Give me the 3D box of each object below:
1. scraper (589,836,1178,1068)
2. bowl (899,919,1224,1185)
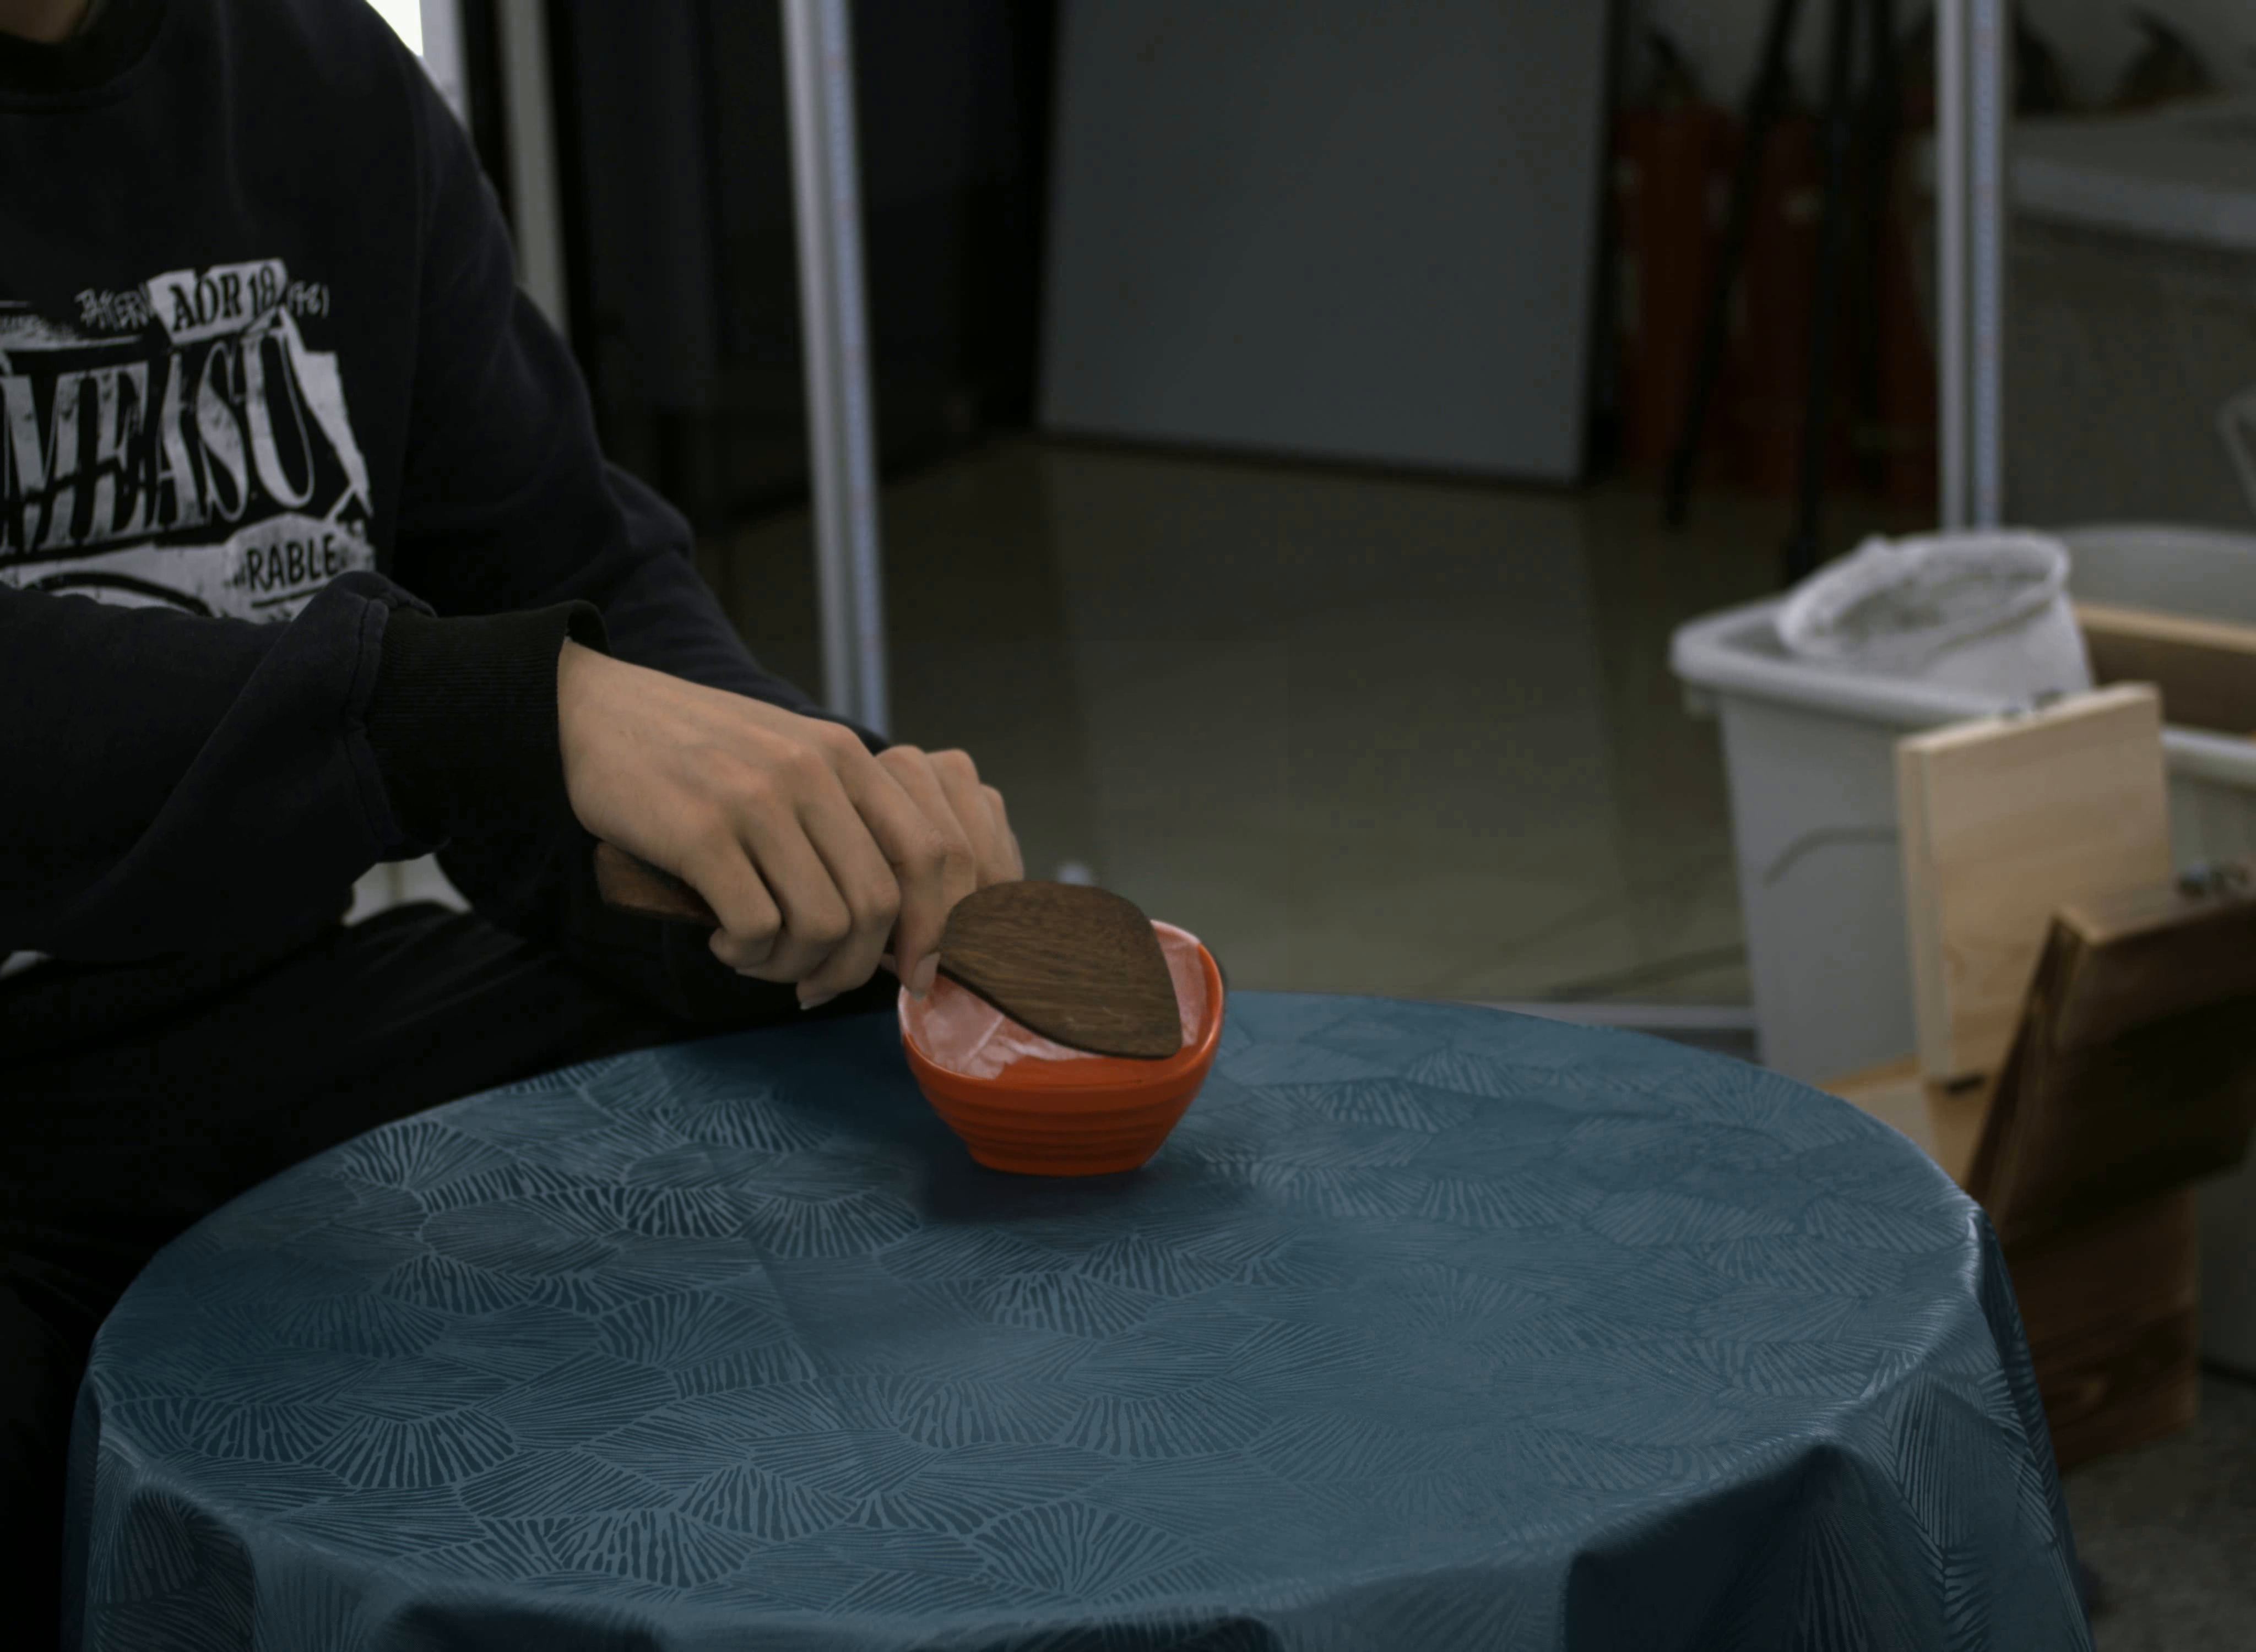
[{"bbox_3d":[-0.077,0.033,1.728,0.206,0.011,0.077,12,47,-28],"label":"scraper"},{"bbox_3d":[-0.022,0.080,1.807,0.117,0.052,0.119,-1,31,0],"label":"bowl"}]
